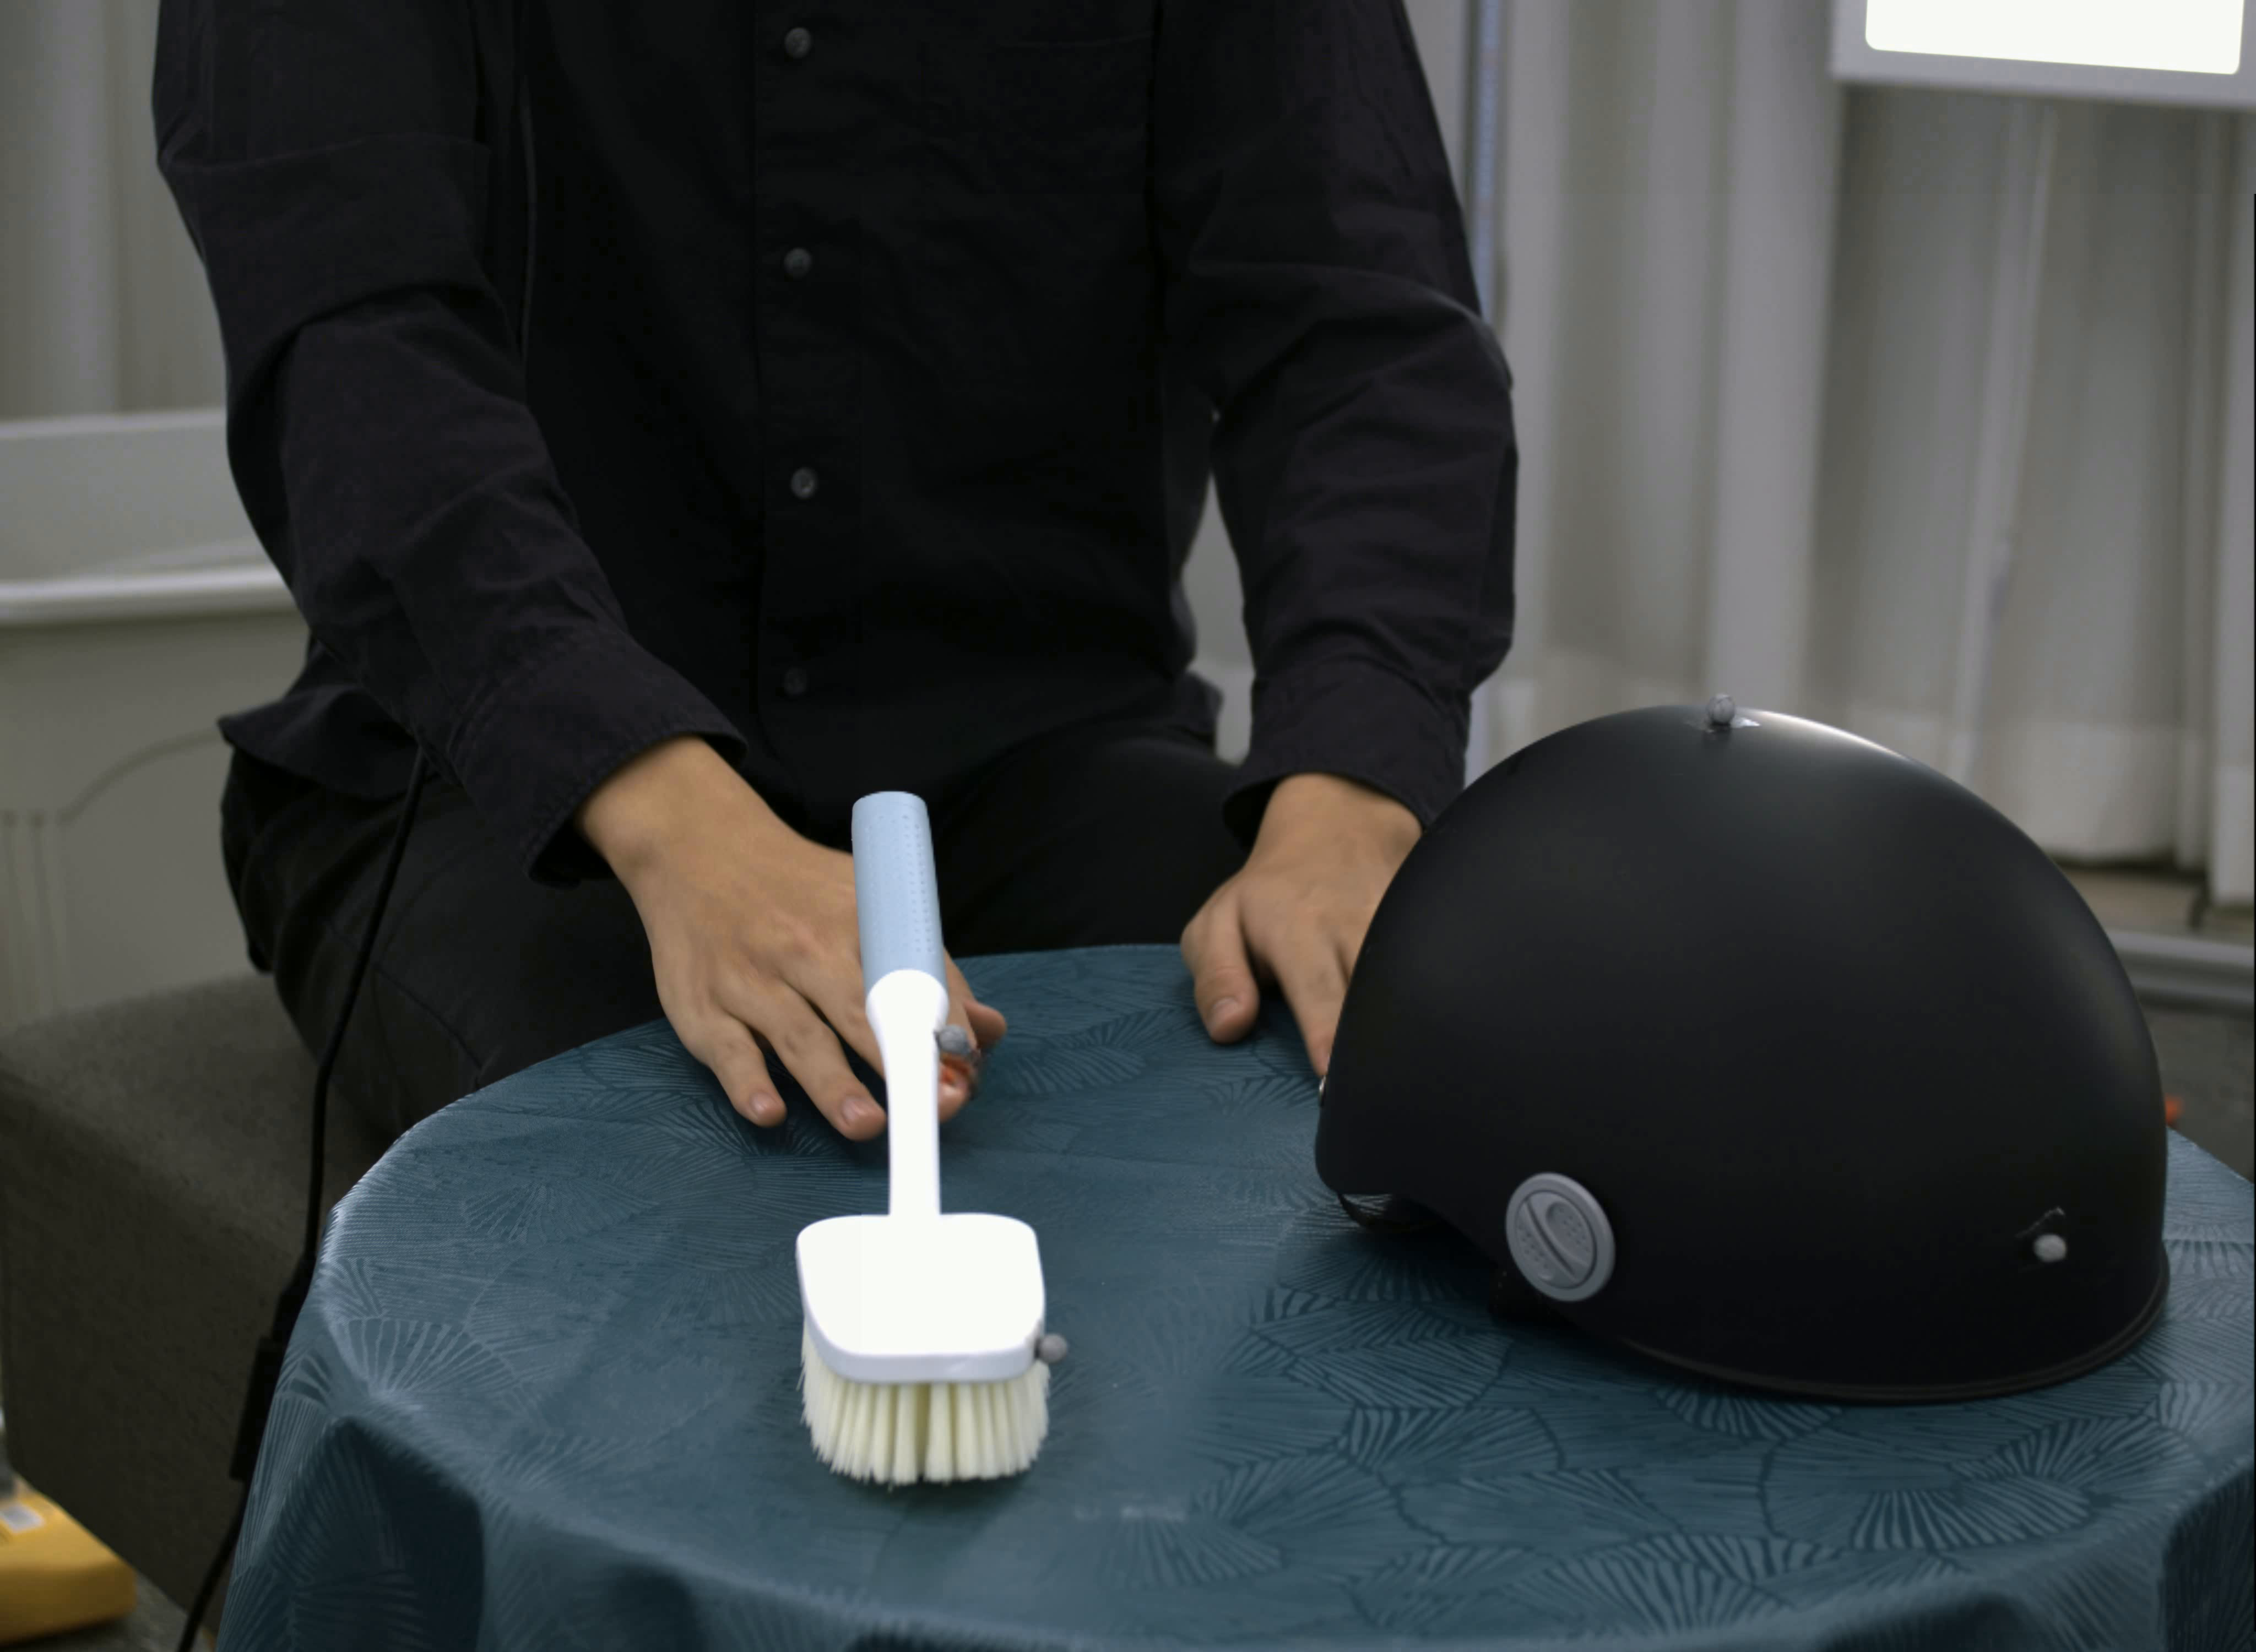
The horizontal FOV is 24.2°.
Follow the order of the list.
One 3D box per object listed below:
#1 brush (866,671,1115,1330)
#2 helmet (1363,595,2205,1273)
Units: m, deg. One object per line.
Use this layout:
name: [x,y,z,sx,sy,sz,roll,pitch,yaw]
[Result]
brush: [-0.040,0.063,1.560,0.084,0.084,0.322,34,21,-20]
helmet: [0.200,0.020,1.588,0.231,0.168,0.269,-14,23,-33]
